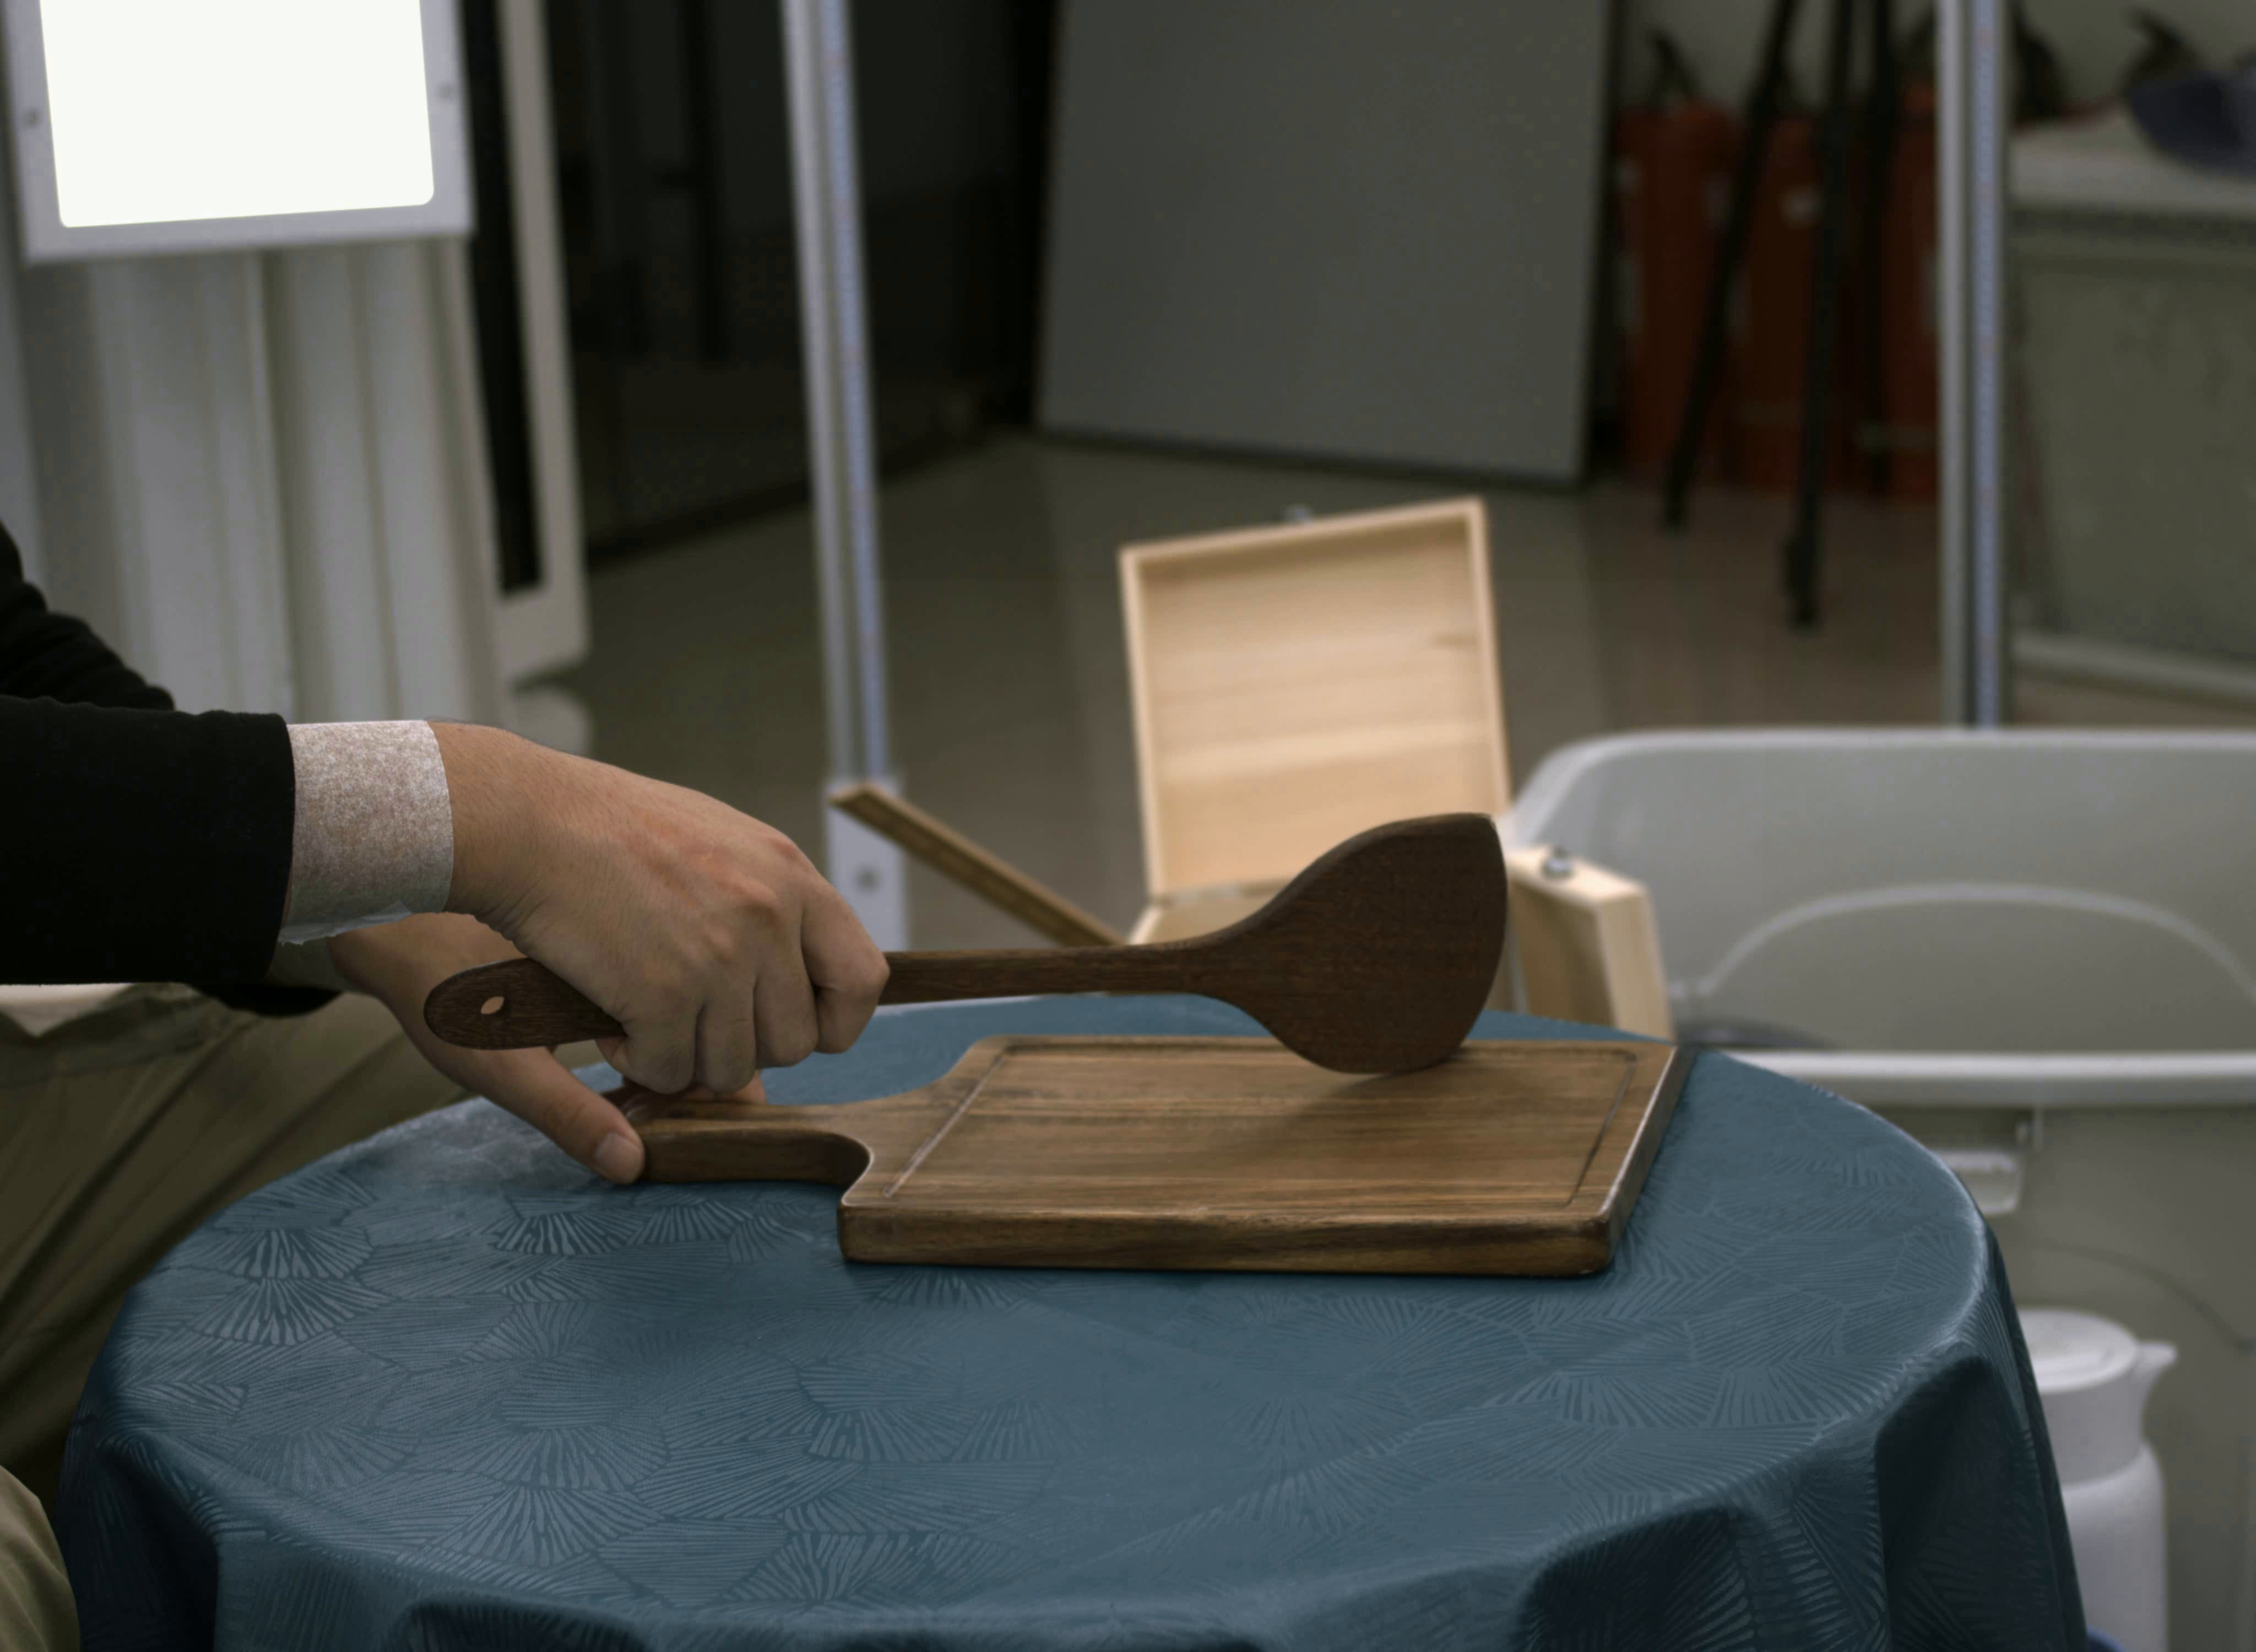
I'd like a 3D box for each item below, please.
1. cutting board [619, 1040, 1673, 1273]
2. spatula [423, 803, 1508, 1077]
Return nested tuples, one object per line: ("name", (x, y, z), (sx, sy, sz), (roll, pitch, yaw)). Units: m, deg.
("cutting board", (0.000, 0.107, 1.785), (0.350, 0.023, 0.200), (-1, 14, 14))
("spatula", (-0.045, 0.045, 1.747), (0.377, 0.097, 0.016), (-2, 22, -23))
